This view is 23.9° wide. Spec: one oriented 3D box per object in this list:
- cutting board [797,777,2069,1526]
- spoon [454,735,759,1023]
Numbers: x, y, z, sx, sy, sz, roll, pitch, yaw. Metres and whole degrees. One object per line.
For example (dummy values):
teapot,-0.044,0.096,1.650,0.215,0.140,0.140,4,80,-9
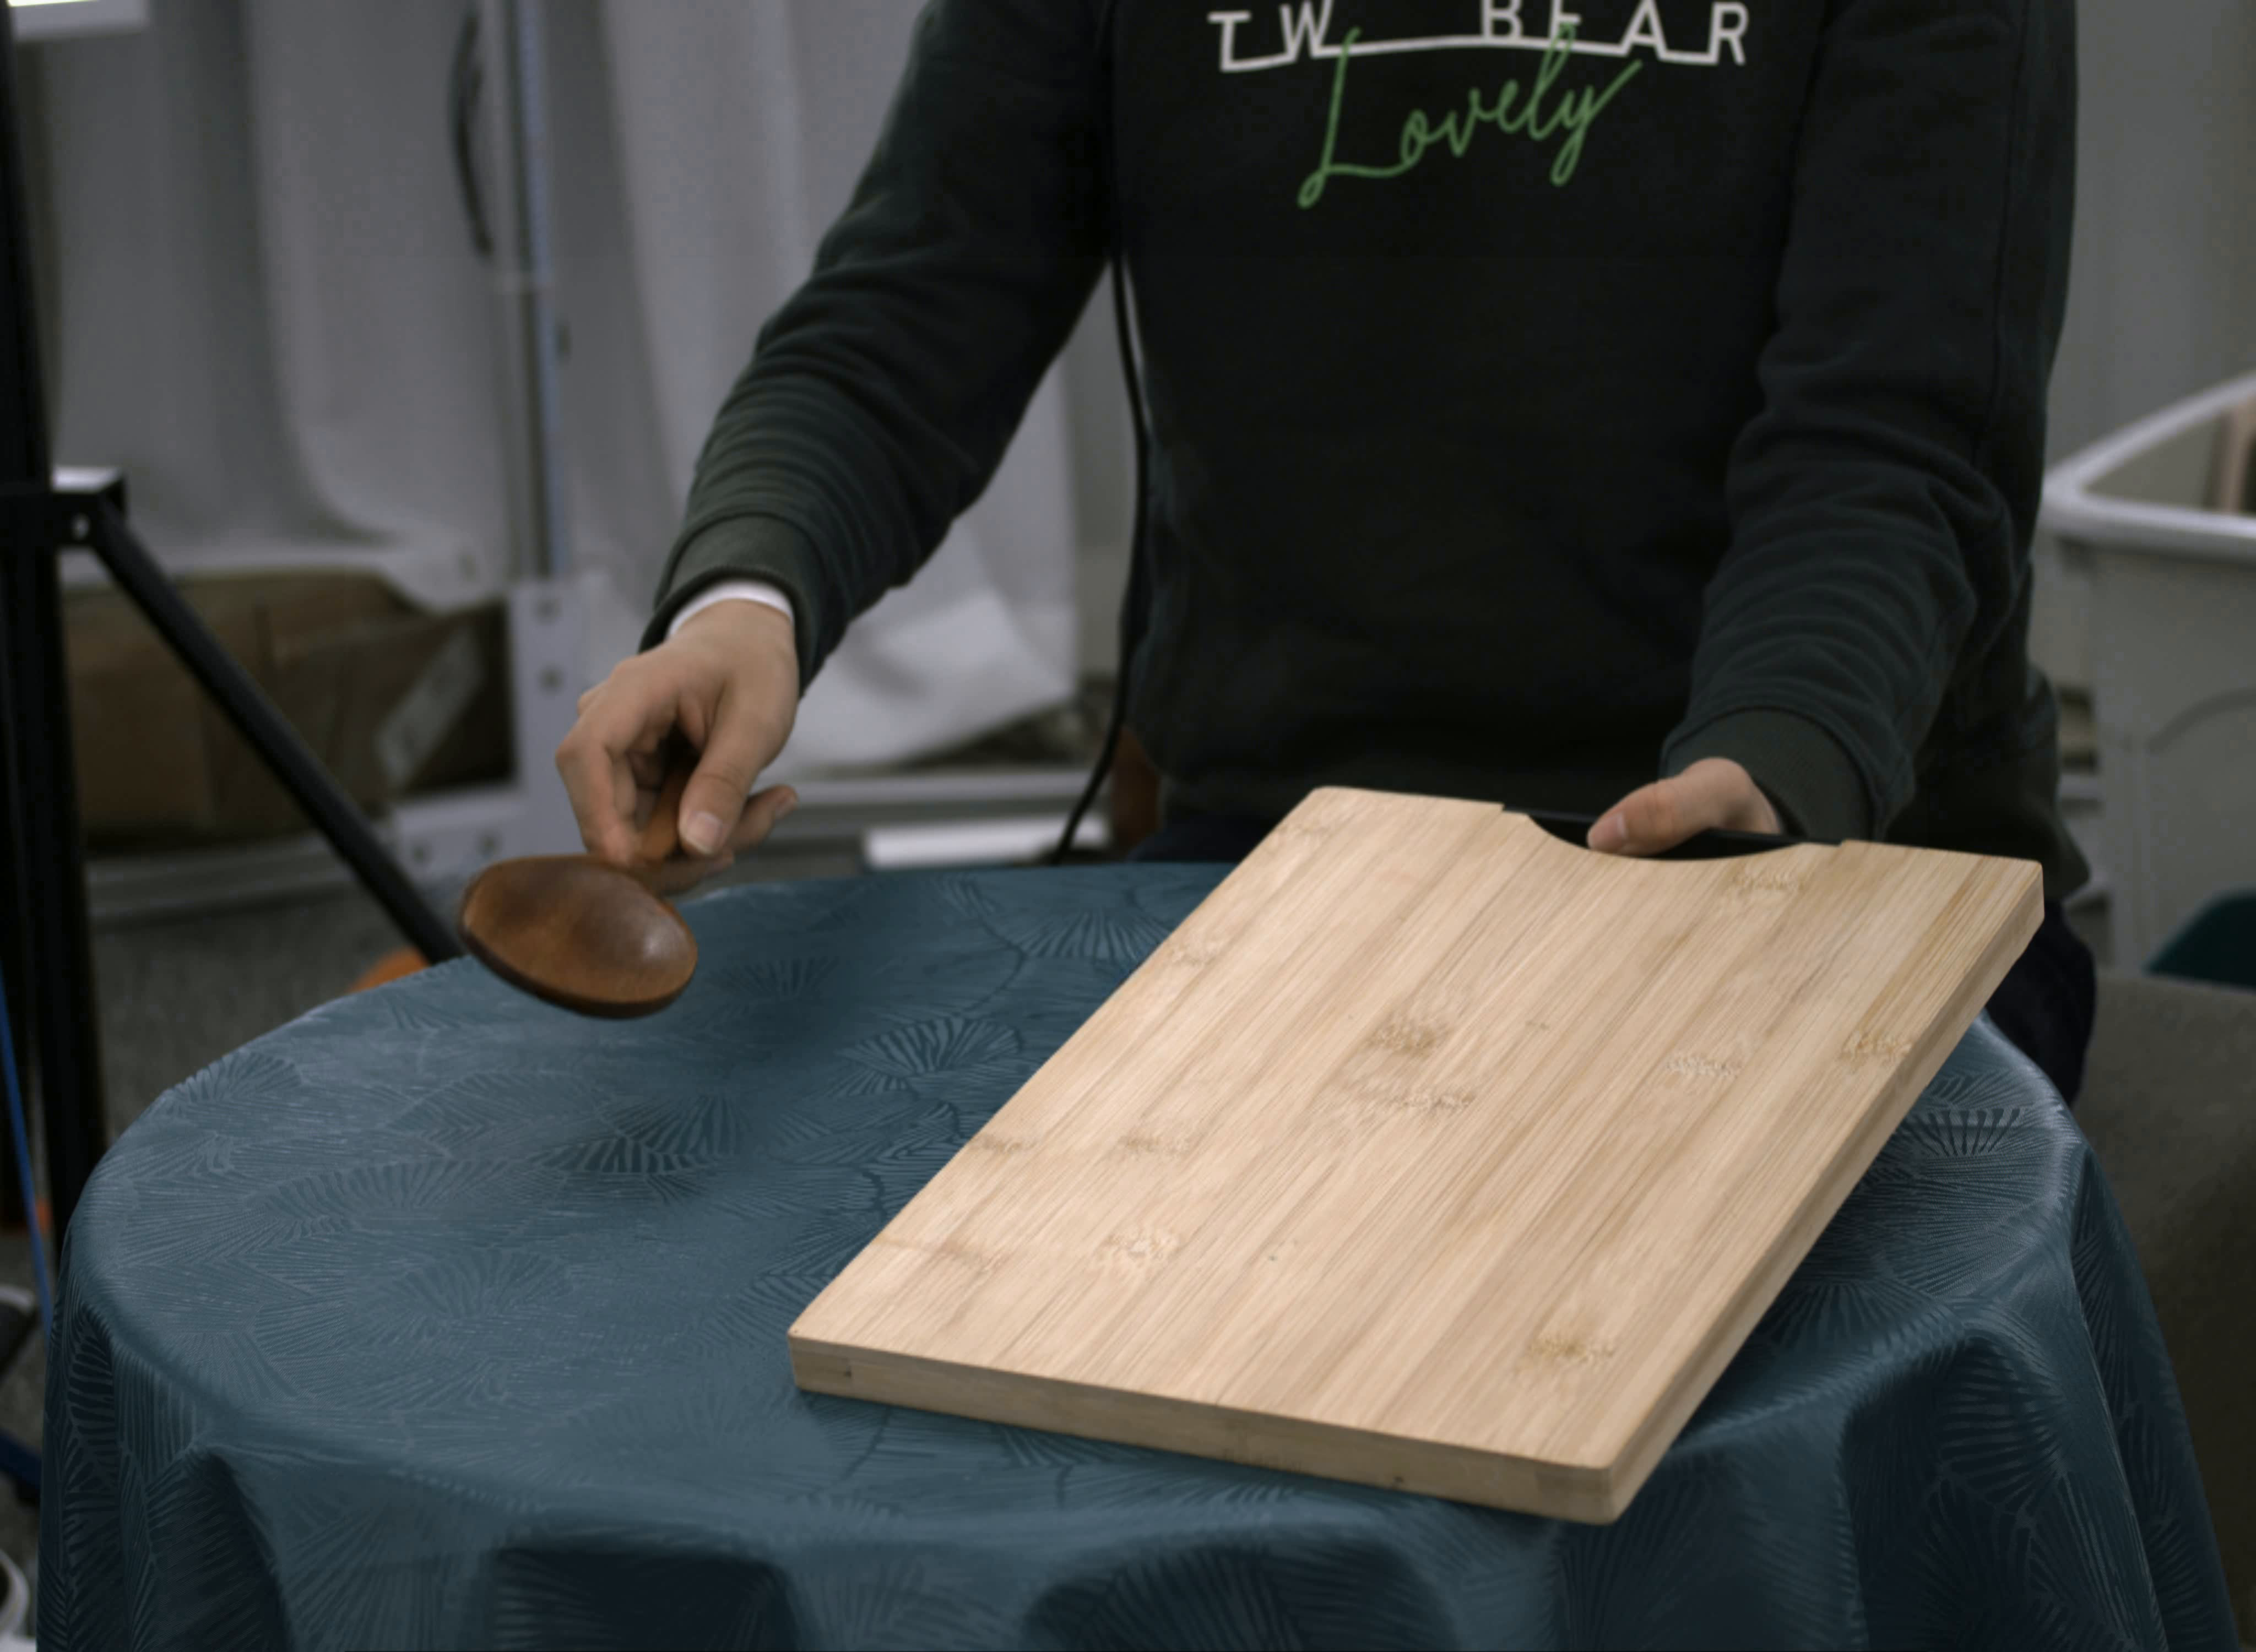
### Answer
cutting board,0.094,0.080,1.494,0.255,0.023,0.344,6,29,27
spoon,-0.151,0.016,1.656,0.075,0.017,0.215,20,24,5
